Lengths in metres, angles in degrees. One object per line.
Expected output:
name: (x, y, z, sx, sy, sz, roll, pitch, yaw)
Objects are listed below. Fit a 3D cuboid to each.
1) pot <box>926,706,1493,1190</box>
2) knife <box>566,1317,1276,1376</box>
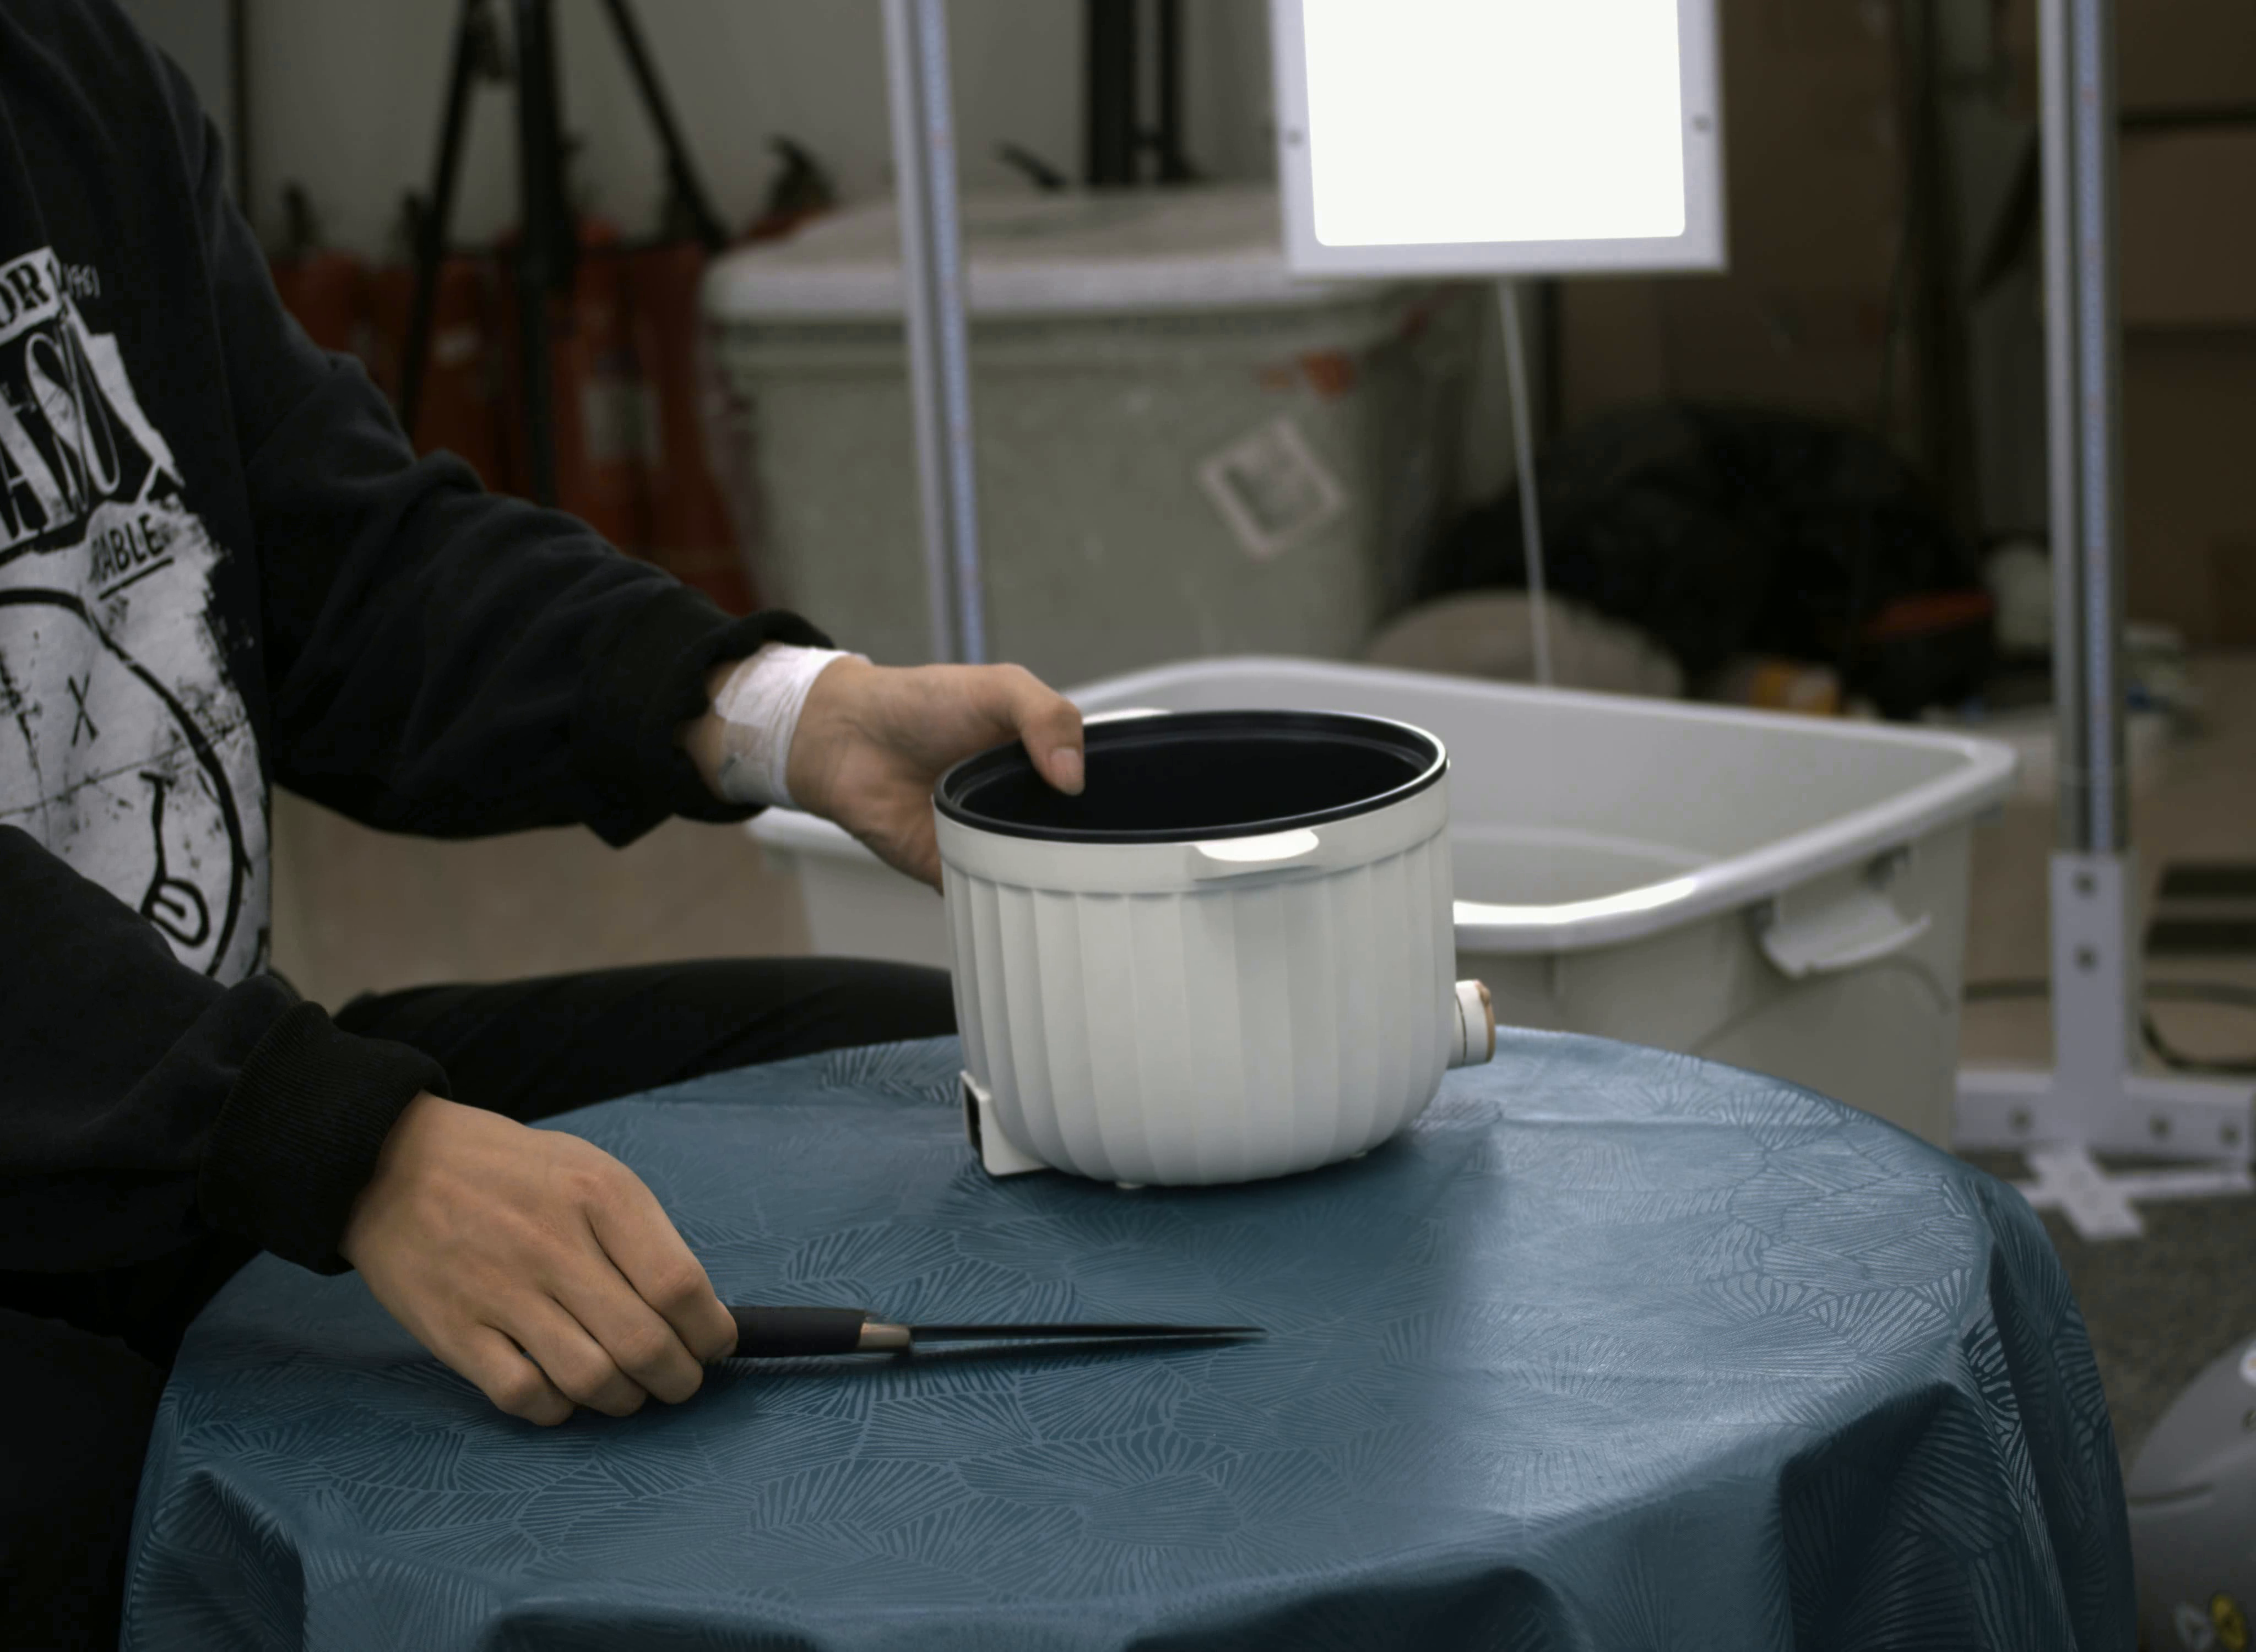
pot: (0.030, 0.043, 1.937, 0.188, 0.143, 0.242, -11, 16, -10)
knife: (-0.065, 0.164, 1.746, 0.225, 0.017, 0.026, -2, -21, 3)
